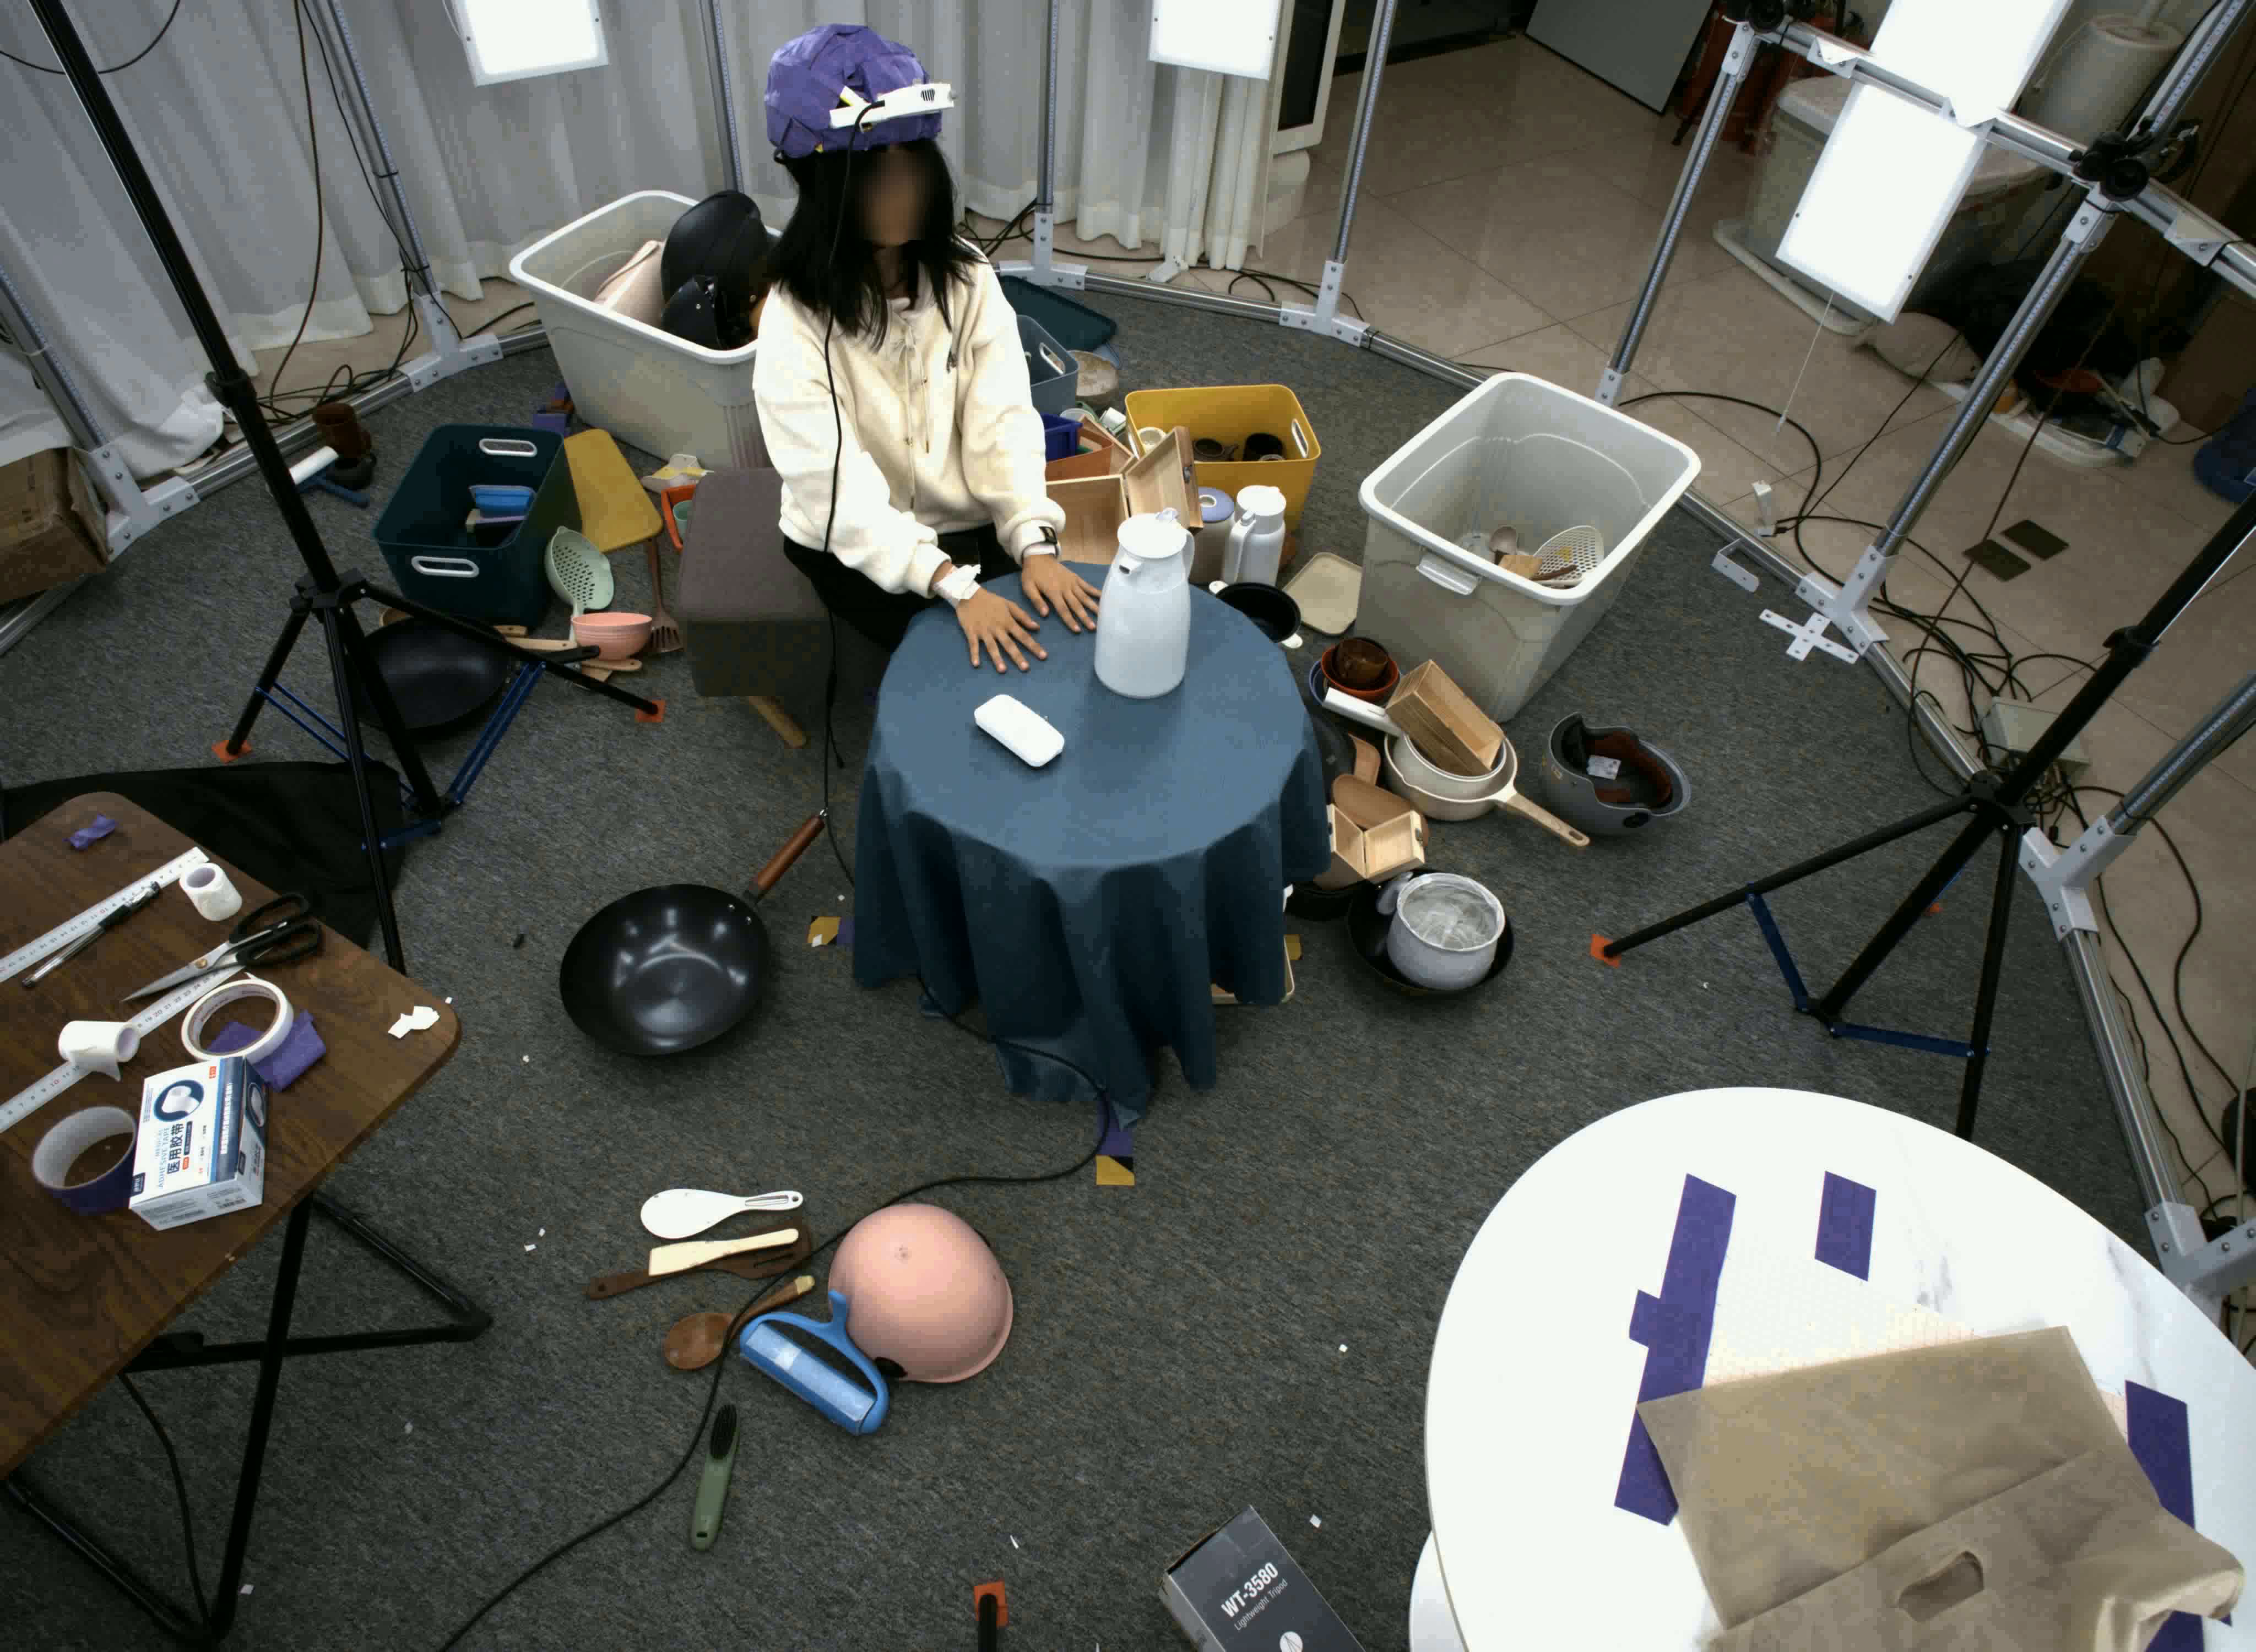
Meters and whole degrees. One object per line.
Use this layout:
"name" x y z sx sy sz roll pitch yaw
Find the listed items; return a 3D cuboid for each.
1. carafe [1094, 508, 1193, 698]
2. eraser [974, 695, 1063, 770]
"carafe" 0.034 -0.323 1.792 0.134 0.242 0.170 28 52 19
"eraser" -0.149 -0.131 1.753 0.133 0.034 0.064 38 55 25
